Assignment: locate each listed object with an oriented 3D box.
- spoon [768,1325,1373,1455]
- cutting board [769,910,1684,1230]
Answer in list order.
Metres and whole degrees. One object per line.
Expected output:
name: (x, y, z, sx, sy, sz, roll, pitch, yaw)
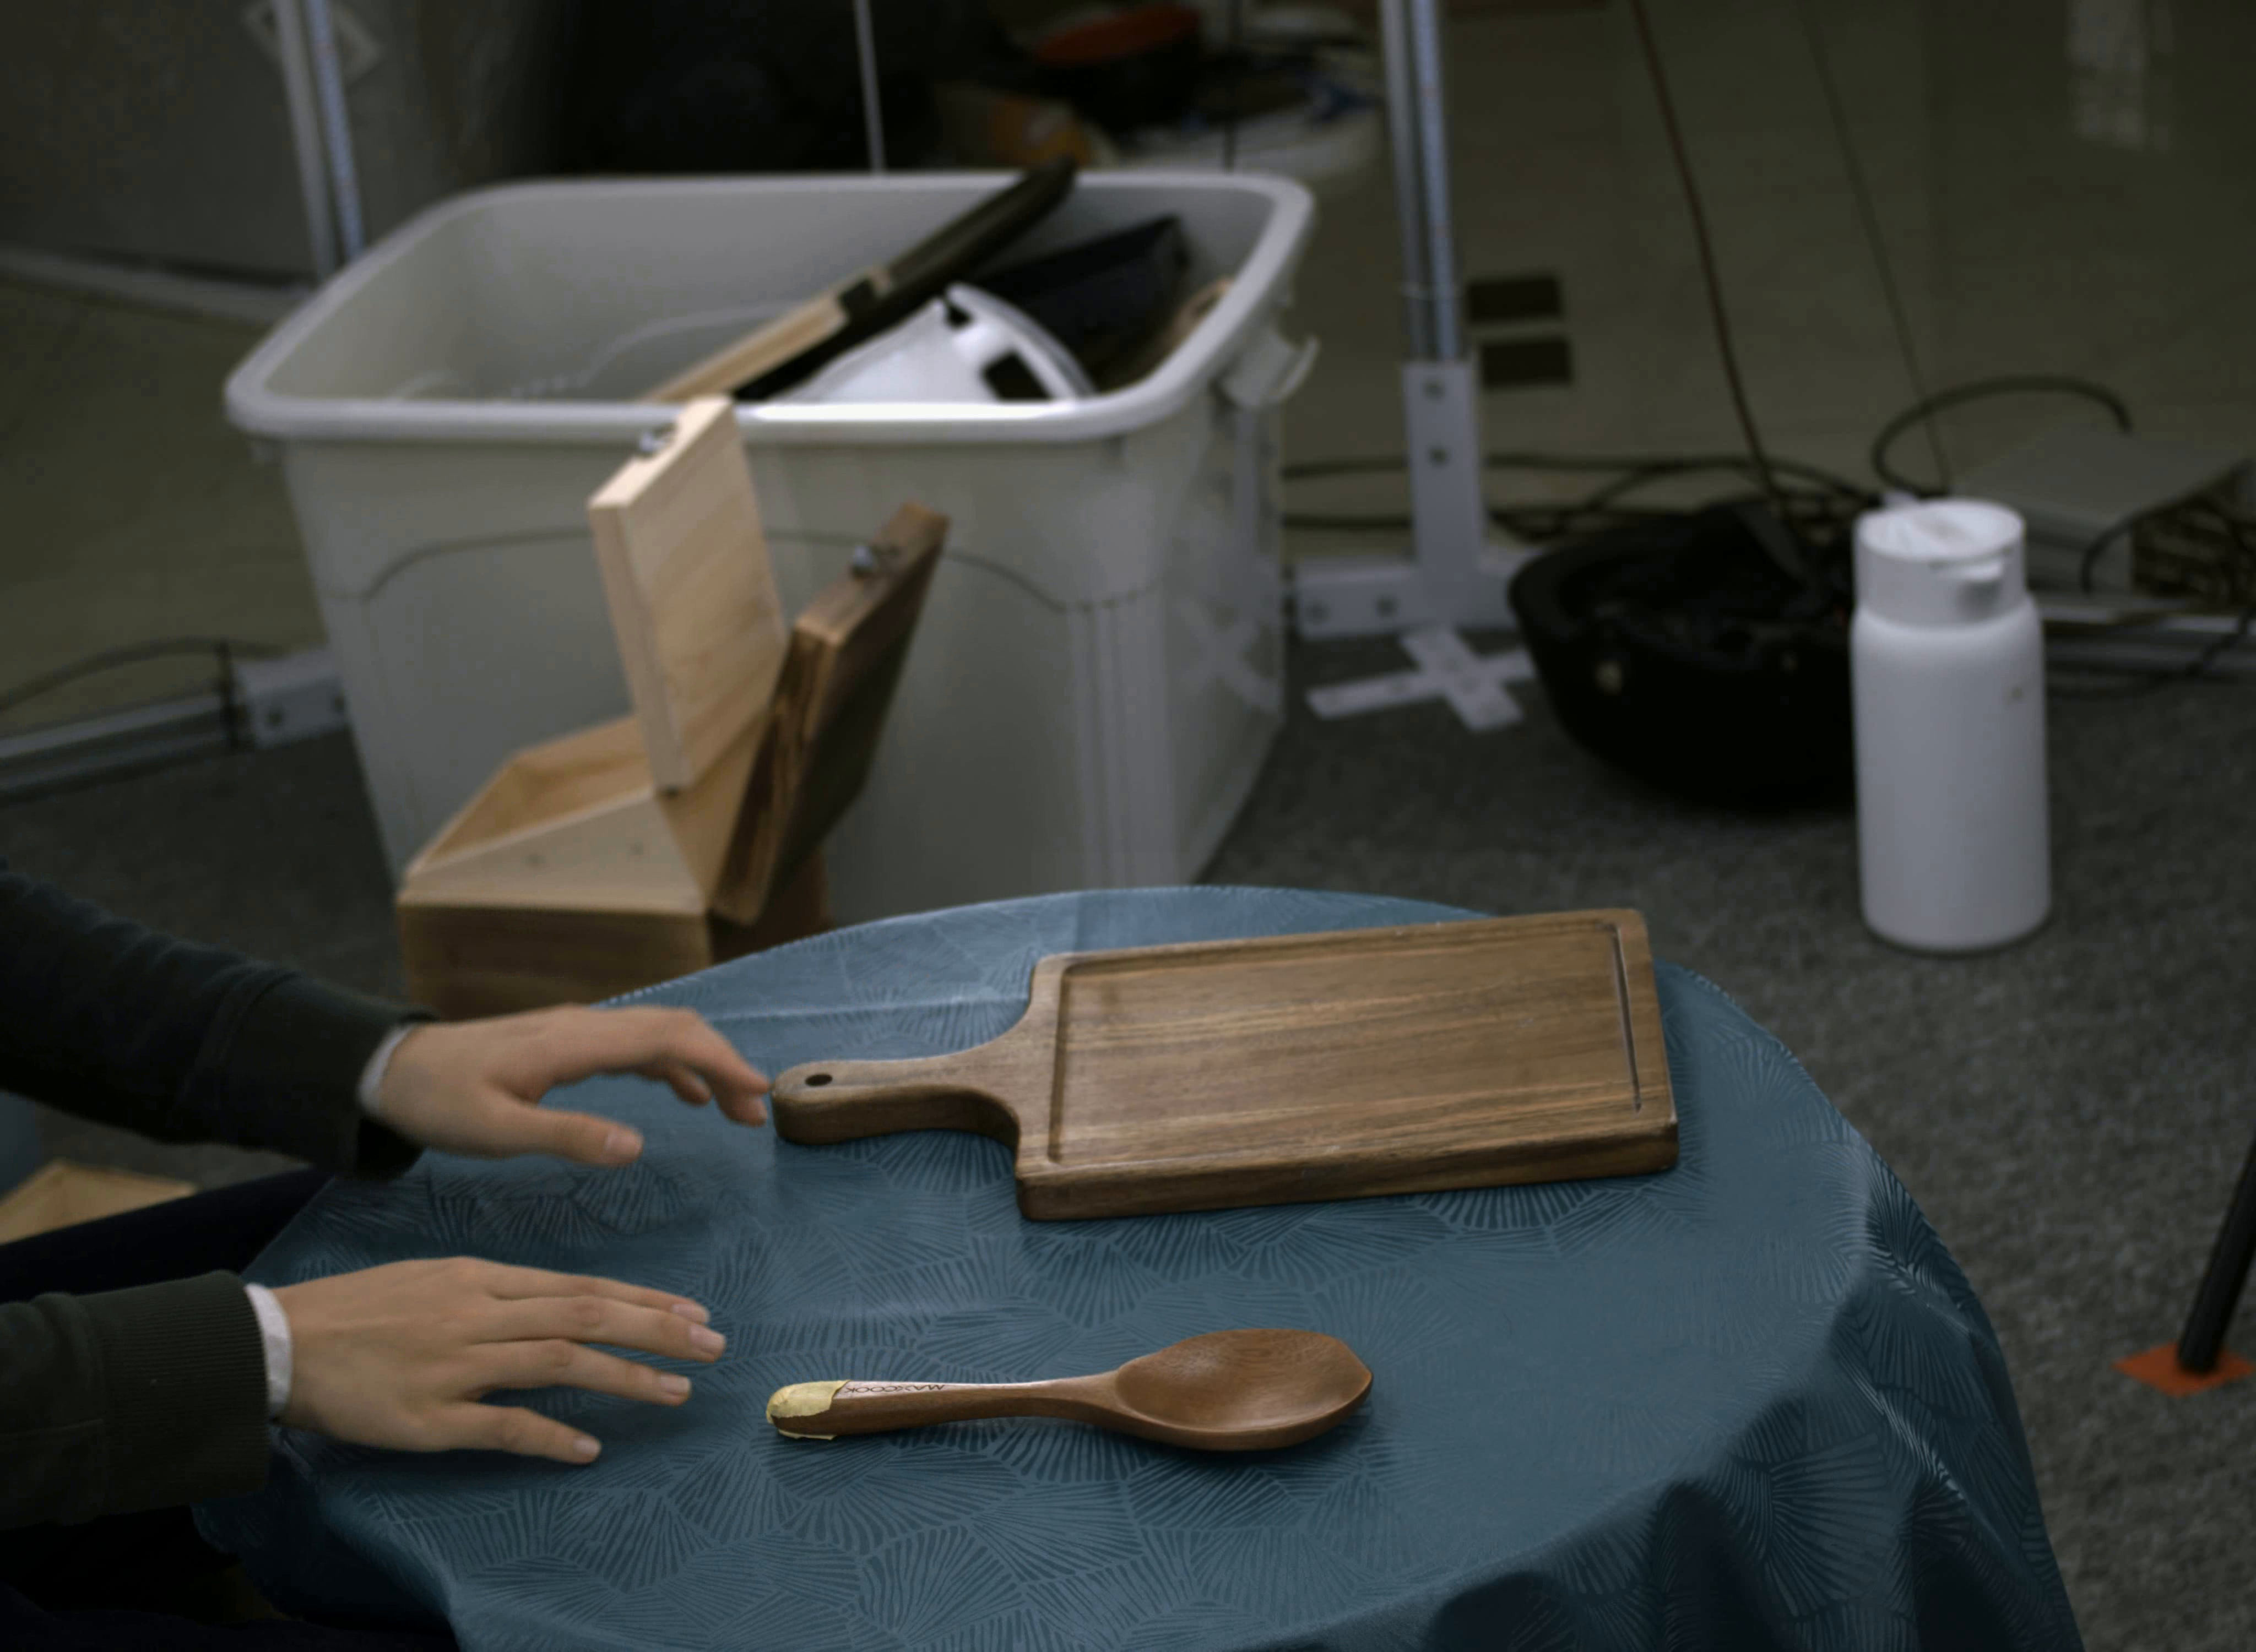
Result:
spoon: (-0.021, 0.202, 2.001, 0.215, 0.017, 0.074, -2, 27, 9)
cutting board: (0.035, 0.097, 2.214, 0.351, 0.023, 0.198, -5, 26, 3)
